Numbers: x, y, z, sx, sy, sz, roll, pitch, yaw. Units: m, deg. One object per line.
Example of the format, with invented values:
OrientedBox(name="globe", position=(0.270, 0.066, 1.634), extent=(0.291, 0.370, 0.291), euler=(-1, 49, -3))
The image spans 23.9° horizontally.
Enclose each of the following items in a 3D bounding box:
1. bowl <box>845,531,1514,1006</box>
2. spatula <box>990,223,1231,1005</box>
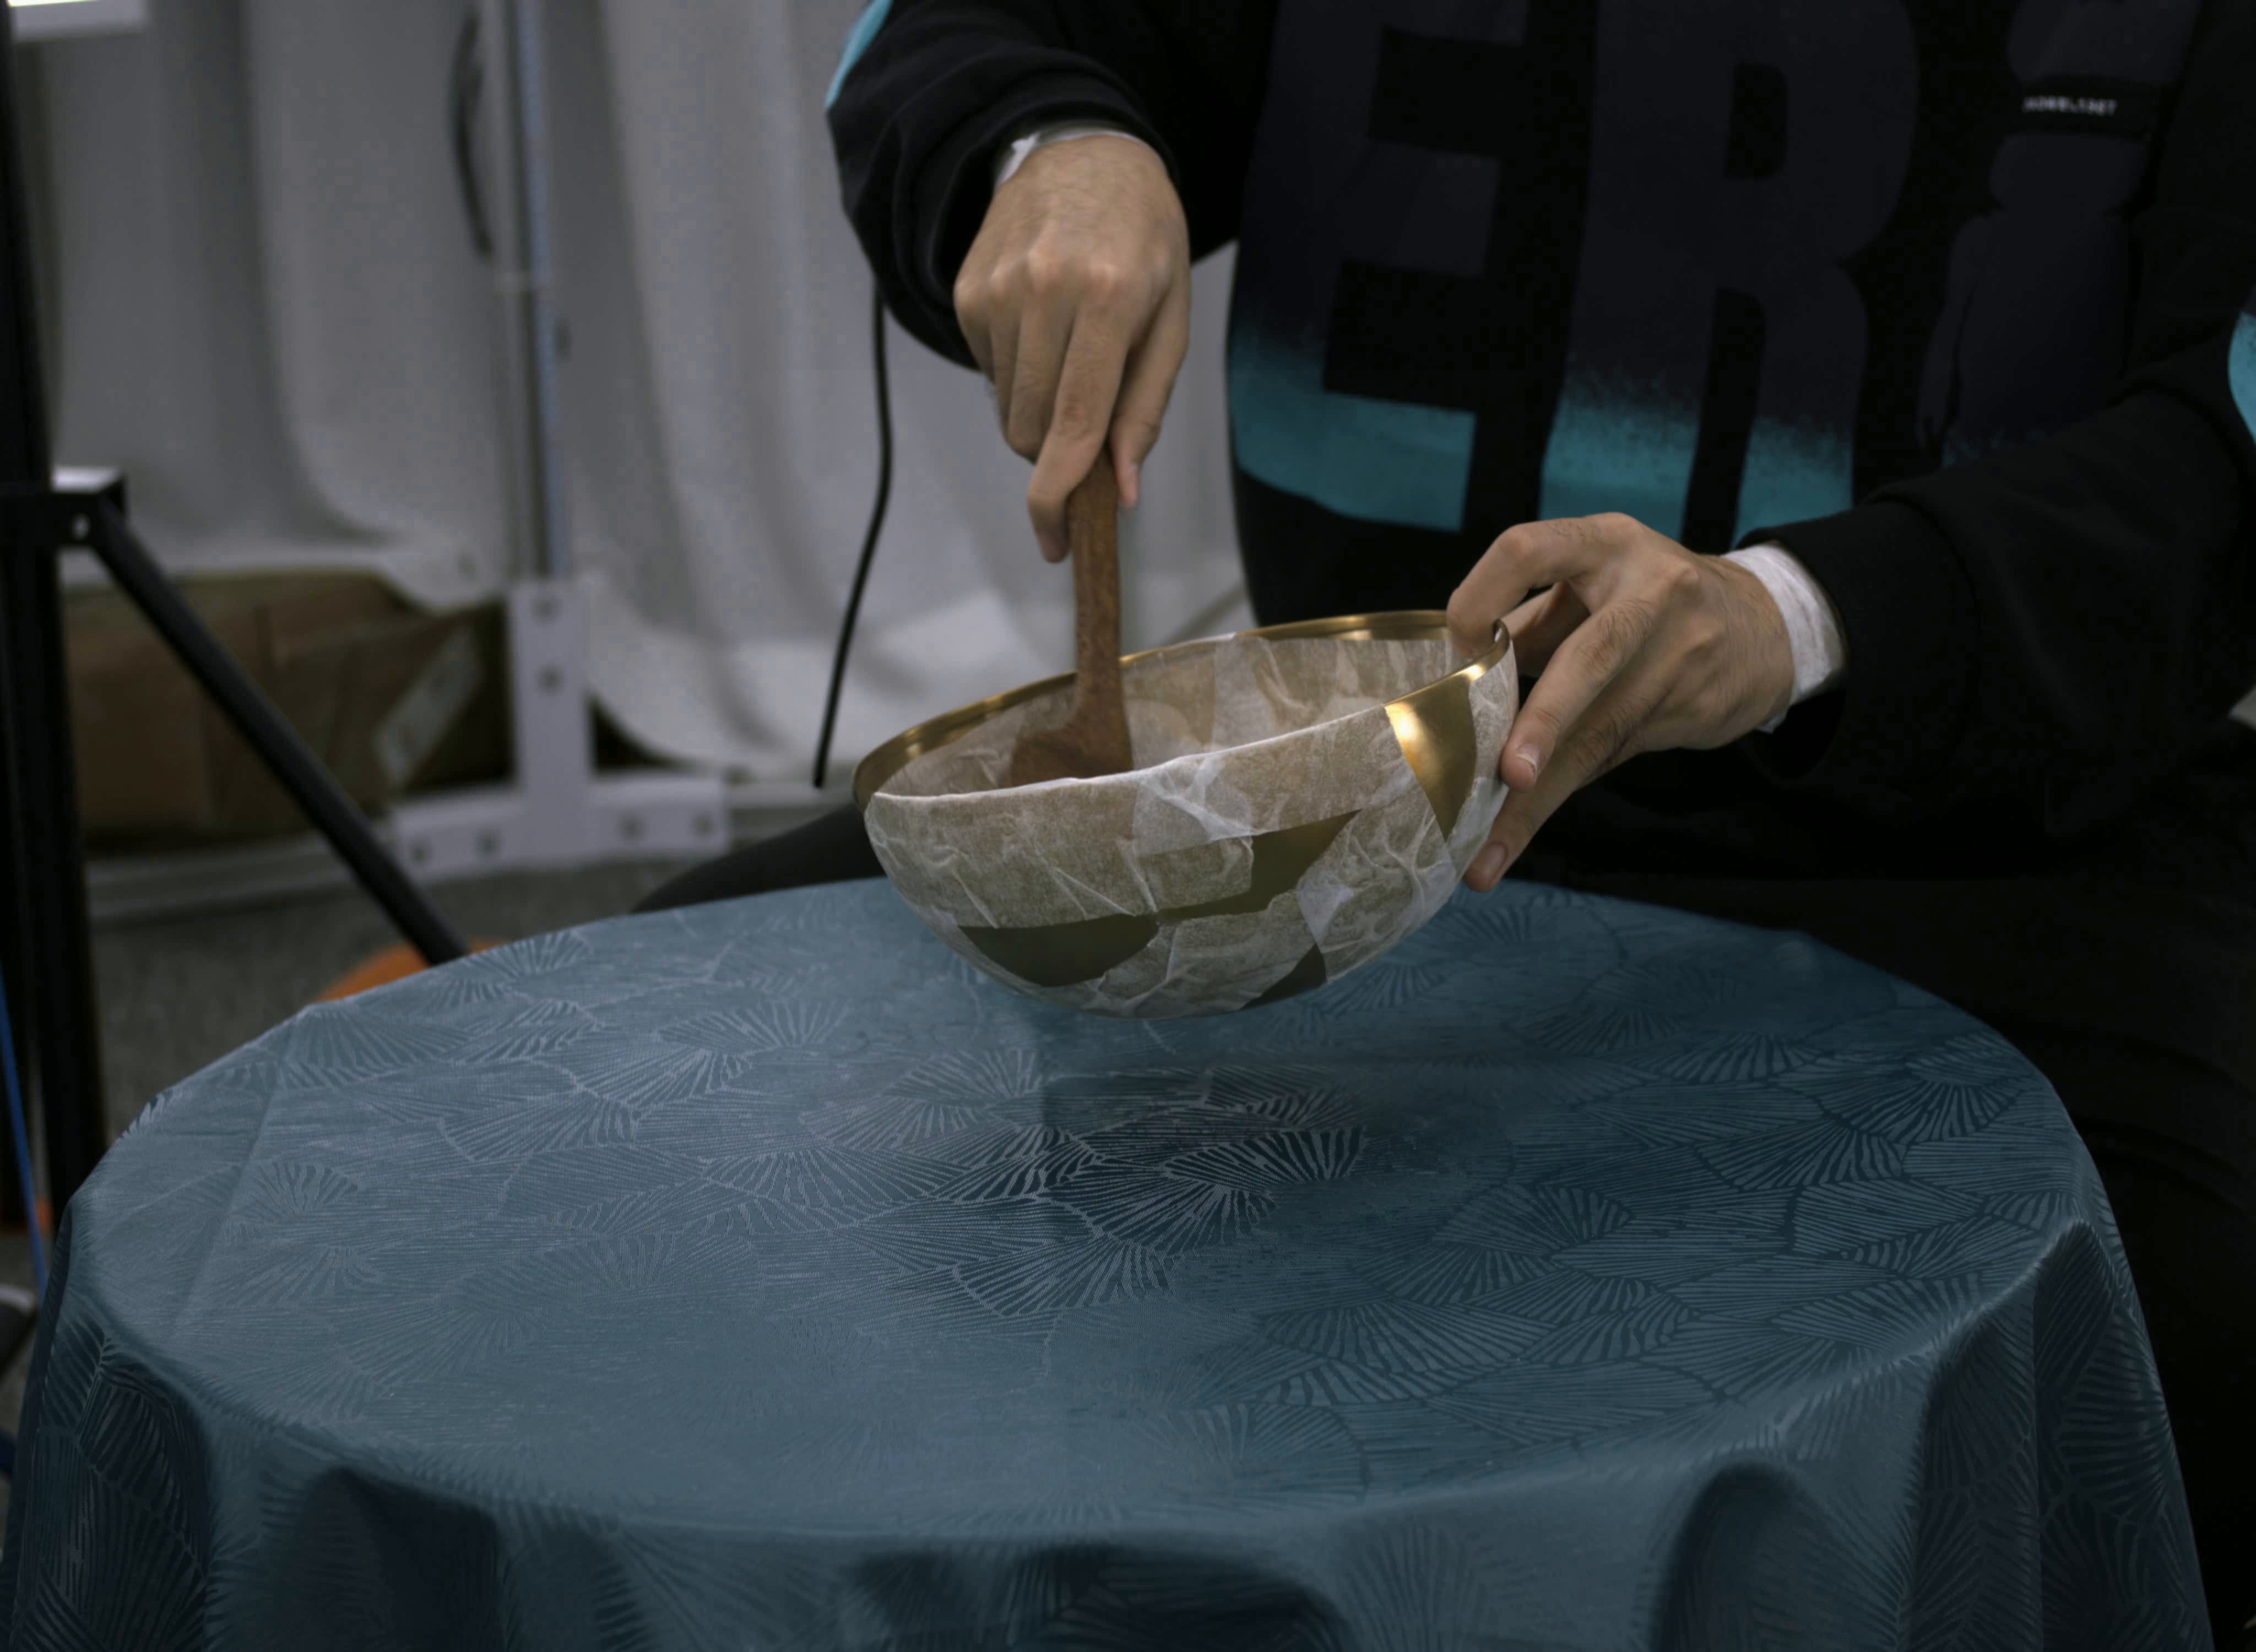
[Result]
OrientedBox(name="bowl", position=(0.028, -0.006, 1.580), extent=(0.214, 0.094, 0.216), euler=(-17, 18, 4))
OrientedBox(name="spatula", position=(-0.012, -0.083, 1.690), extent=(0.016, 0.094, 0.390), euler=(-39, 31, 25))
